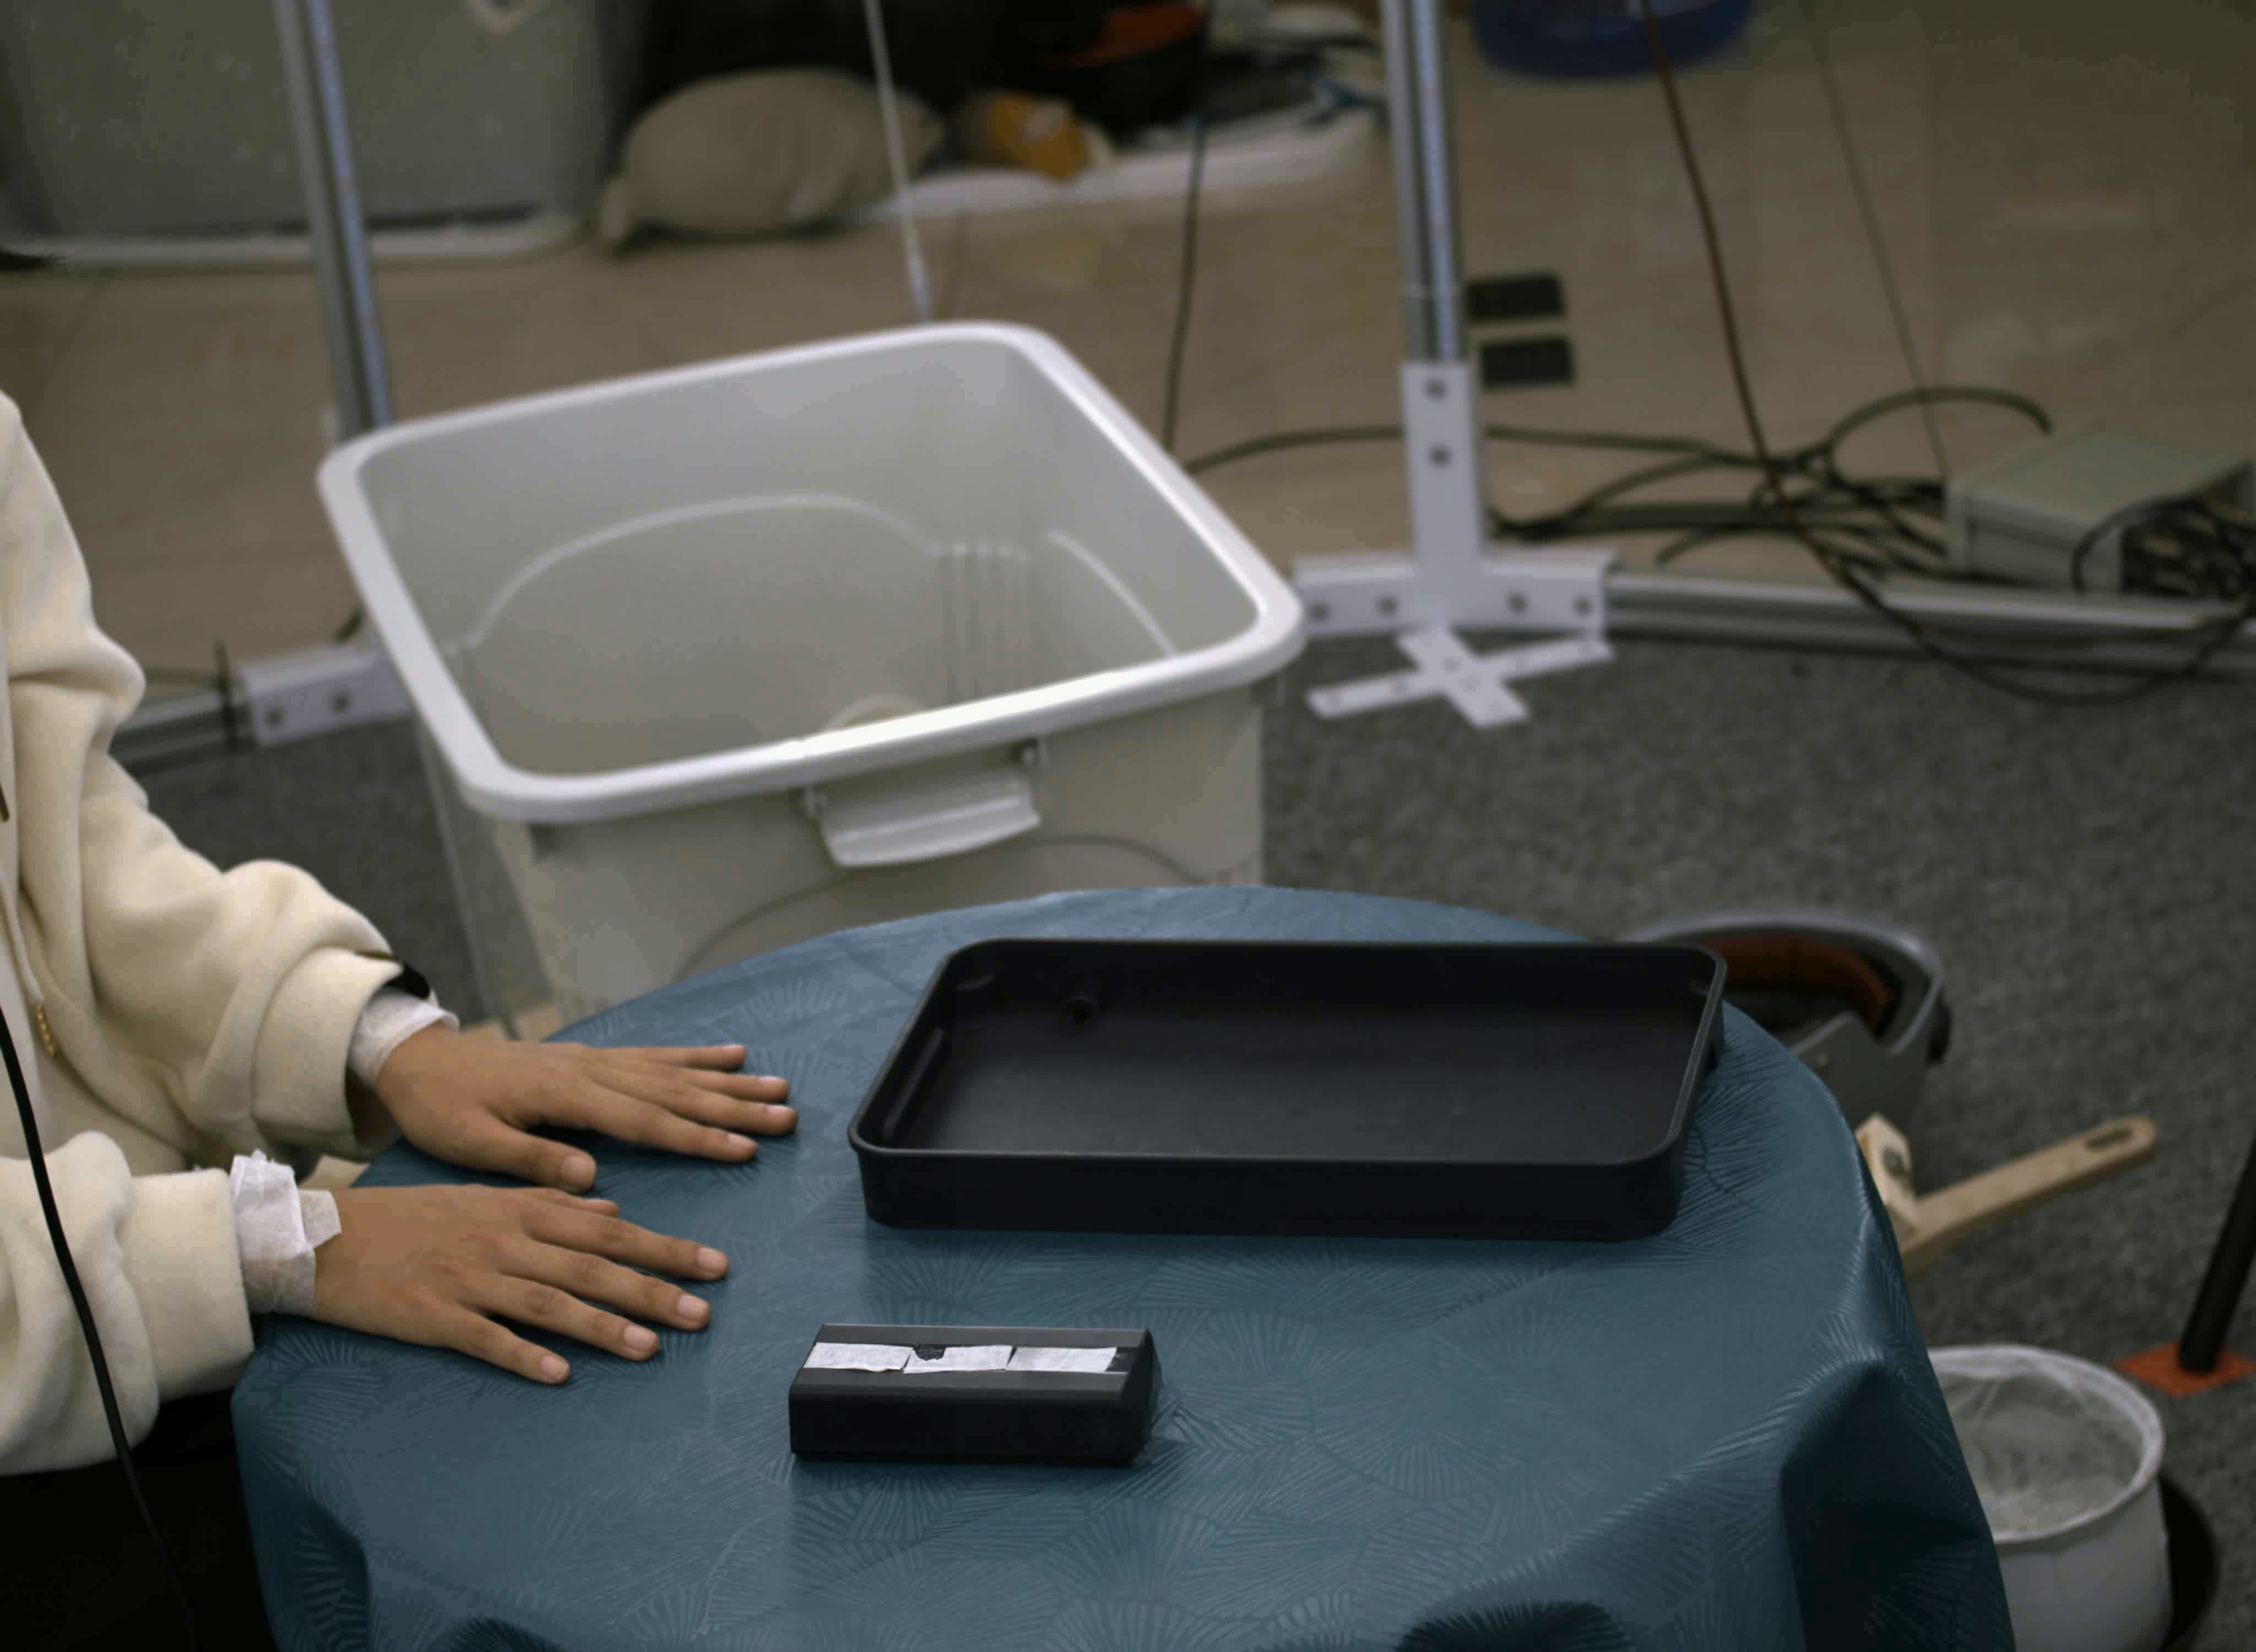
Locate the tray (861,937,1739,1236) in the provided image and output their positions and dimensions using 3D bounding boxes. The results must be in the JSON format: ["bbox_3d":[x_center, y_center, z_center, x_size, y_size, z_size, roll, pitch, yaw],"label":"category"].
[{"bbox_3d":[0.069,0.098,2.173,0.317,0.037,0.181,-1,25,13],"label":"tray"}]

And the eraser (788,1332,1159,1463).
[{"bbox_3d":[-0.053,0.200,1.996,0.125,0.031,0.053,-1,21,14],"label":"eraser"}]
